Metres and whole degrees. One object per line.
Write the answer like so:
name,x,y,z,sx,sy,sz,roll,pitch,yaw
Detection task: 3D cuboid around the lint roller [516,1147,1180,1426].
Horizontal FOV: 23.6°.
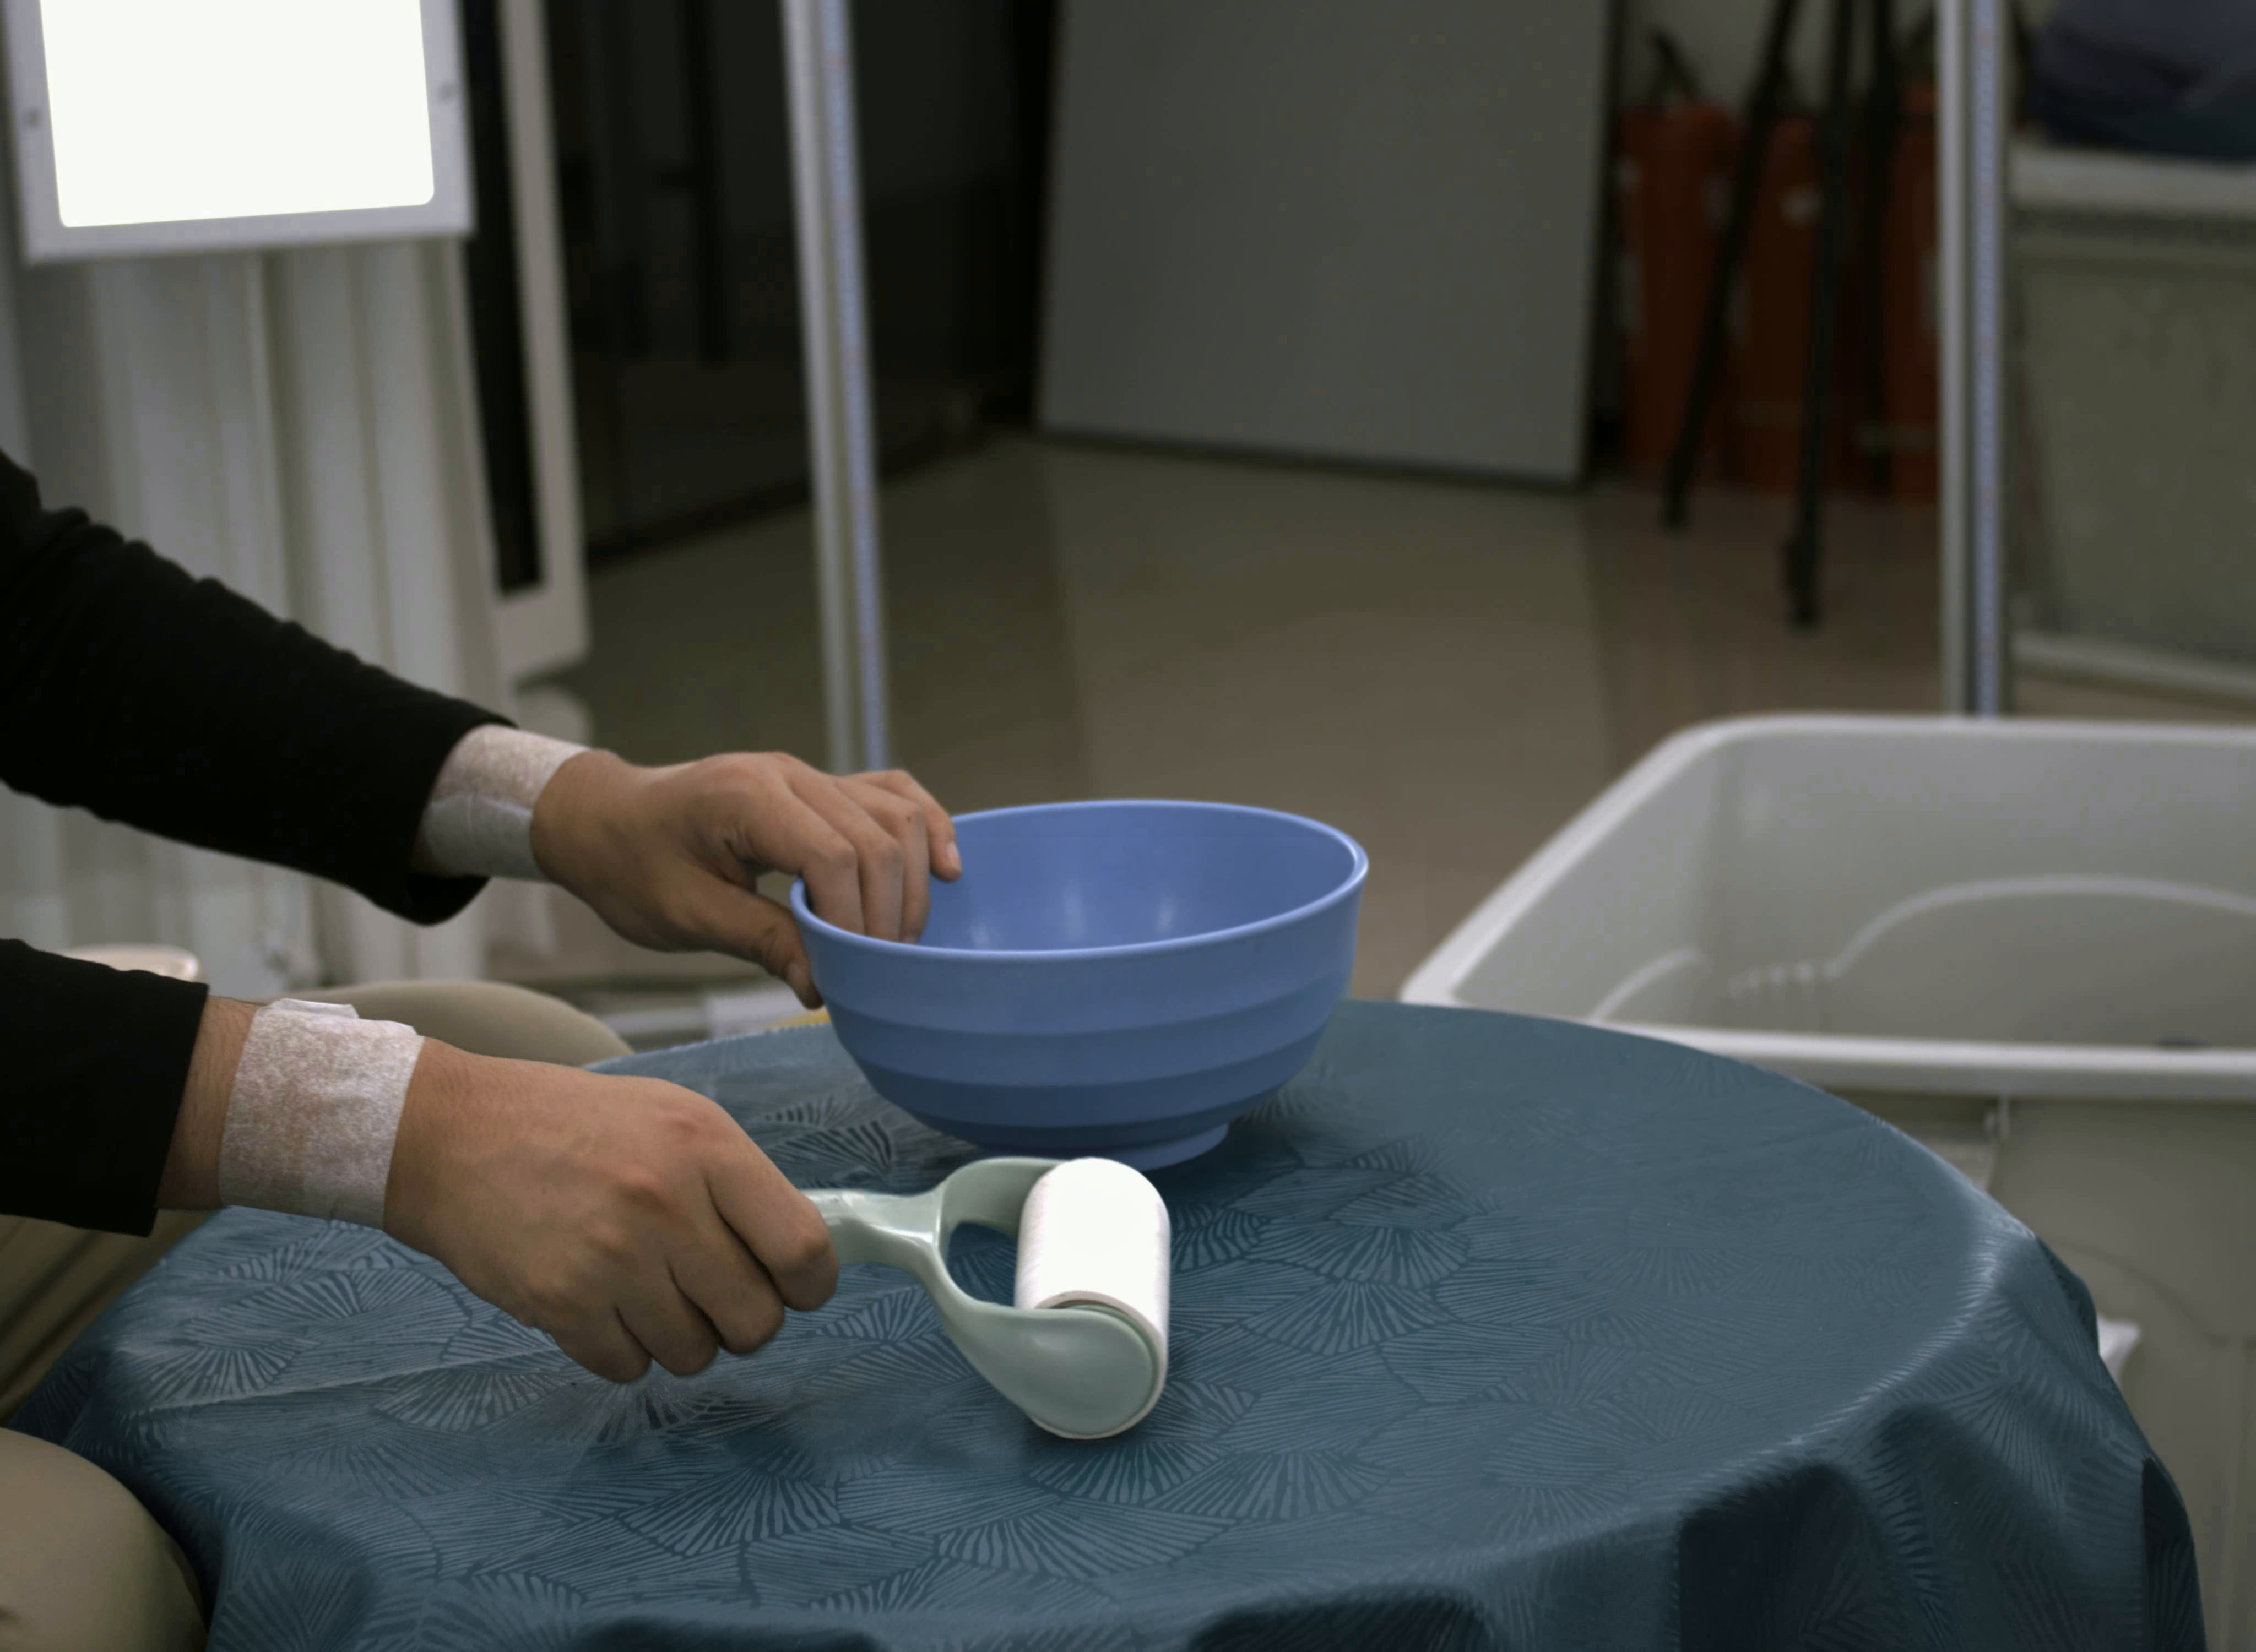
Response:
lint roller,-0.082,0.130,1.595,0.195,0.049,0.117,4,20,0

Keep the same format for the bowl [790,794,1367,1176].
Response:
bowl,-0.014,0.060,1.819,0.194,0.096,0.197,-4,15,0
